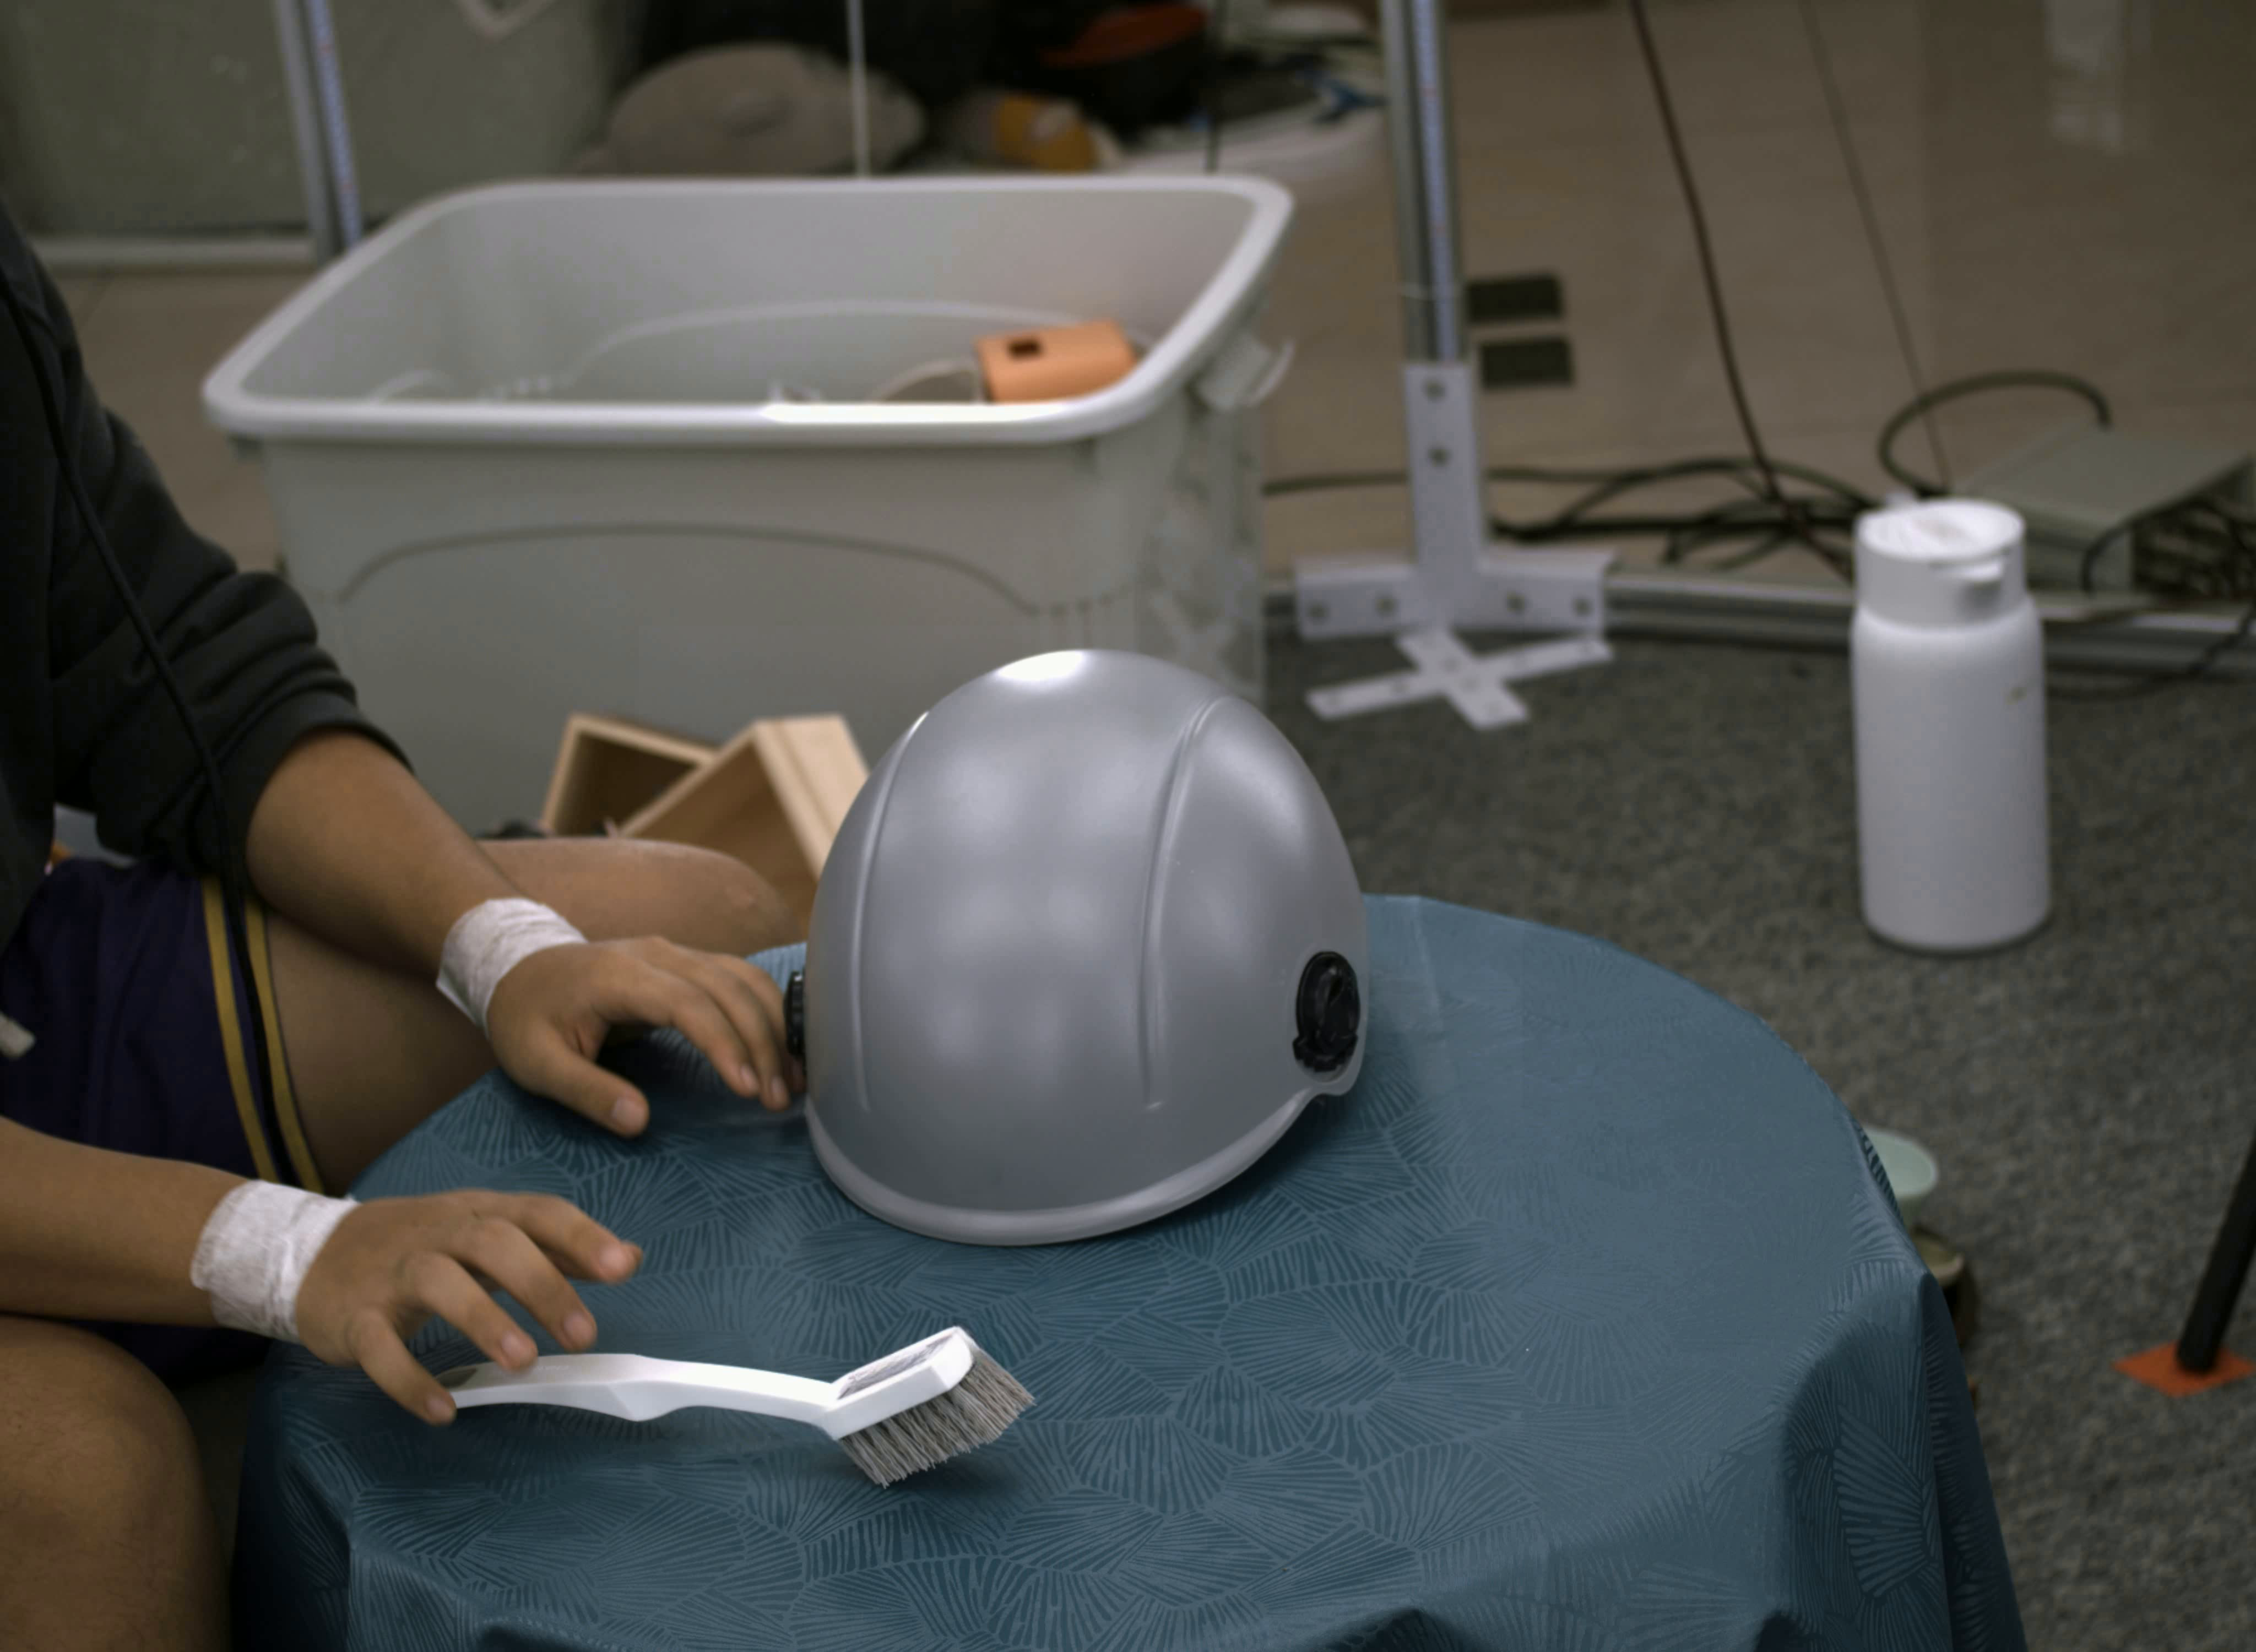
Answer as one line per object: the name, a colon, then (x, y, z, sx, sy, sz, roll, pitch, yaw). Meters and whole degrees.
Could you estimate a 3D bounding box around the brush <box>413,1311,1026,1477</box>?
brush: (-0.146, 0.209, 2.006, 0.244, 0.051, 0.034, -9, 22, 29)

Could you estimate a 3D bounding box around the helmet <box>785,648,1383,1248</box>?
helmet: (-0.022, 0.027, 2.197, 0.231, 0.171, 0.272, -1, 27, 17)
